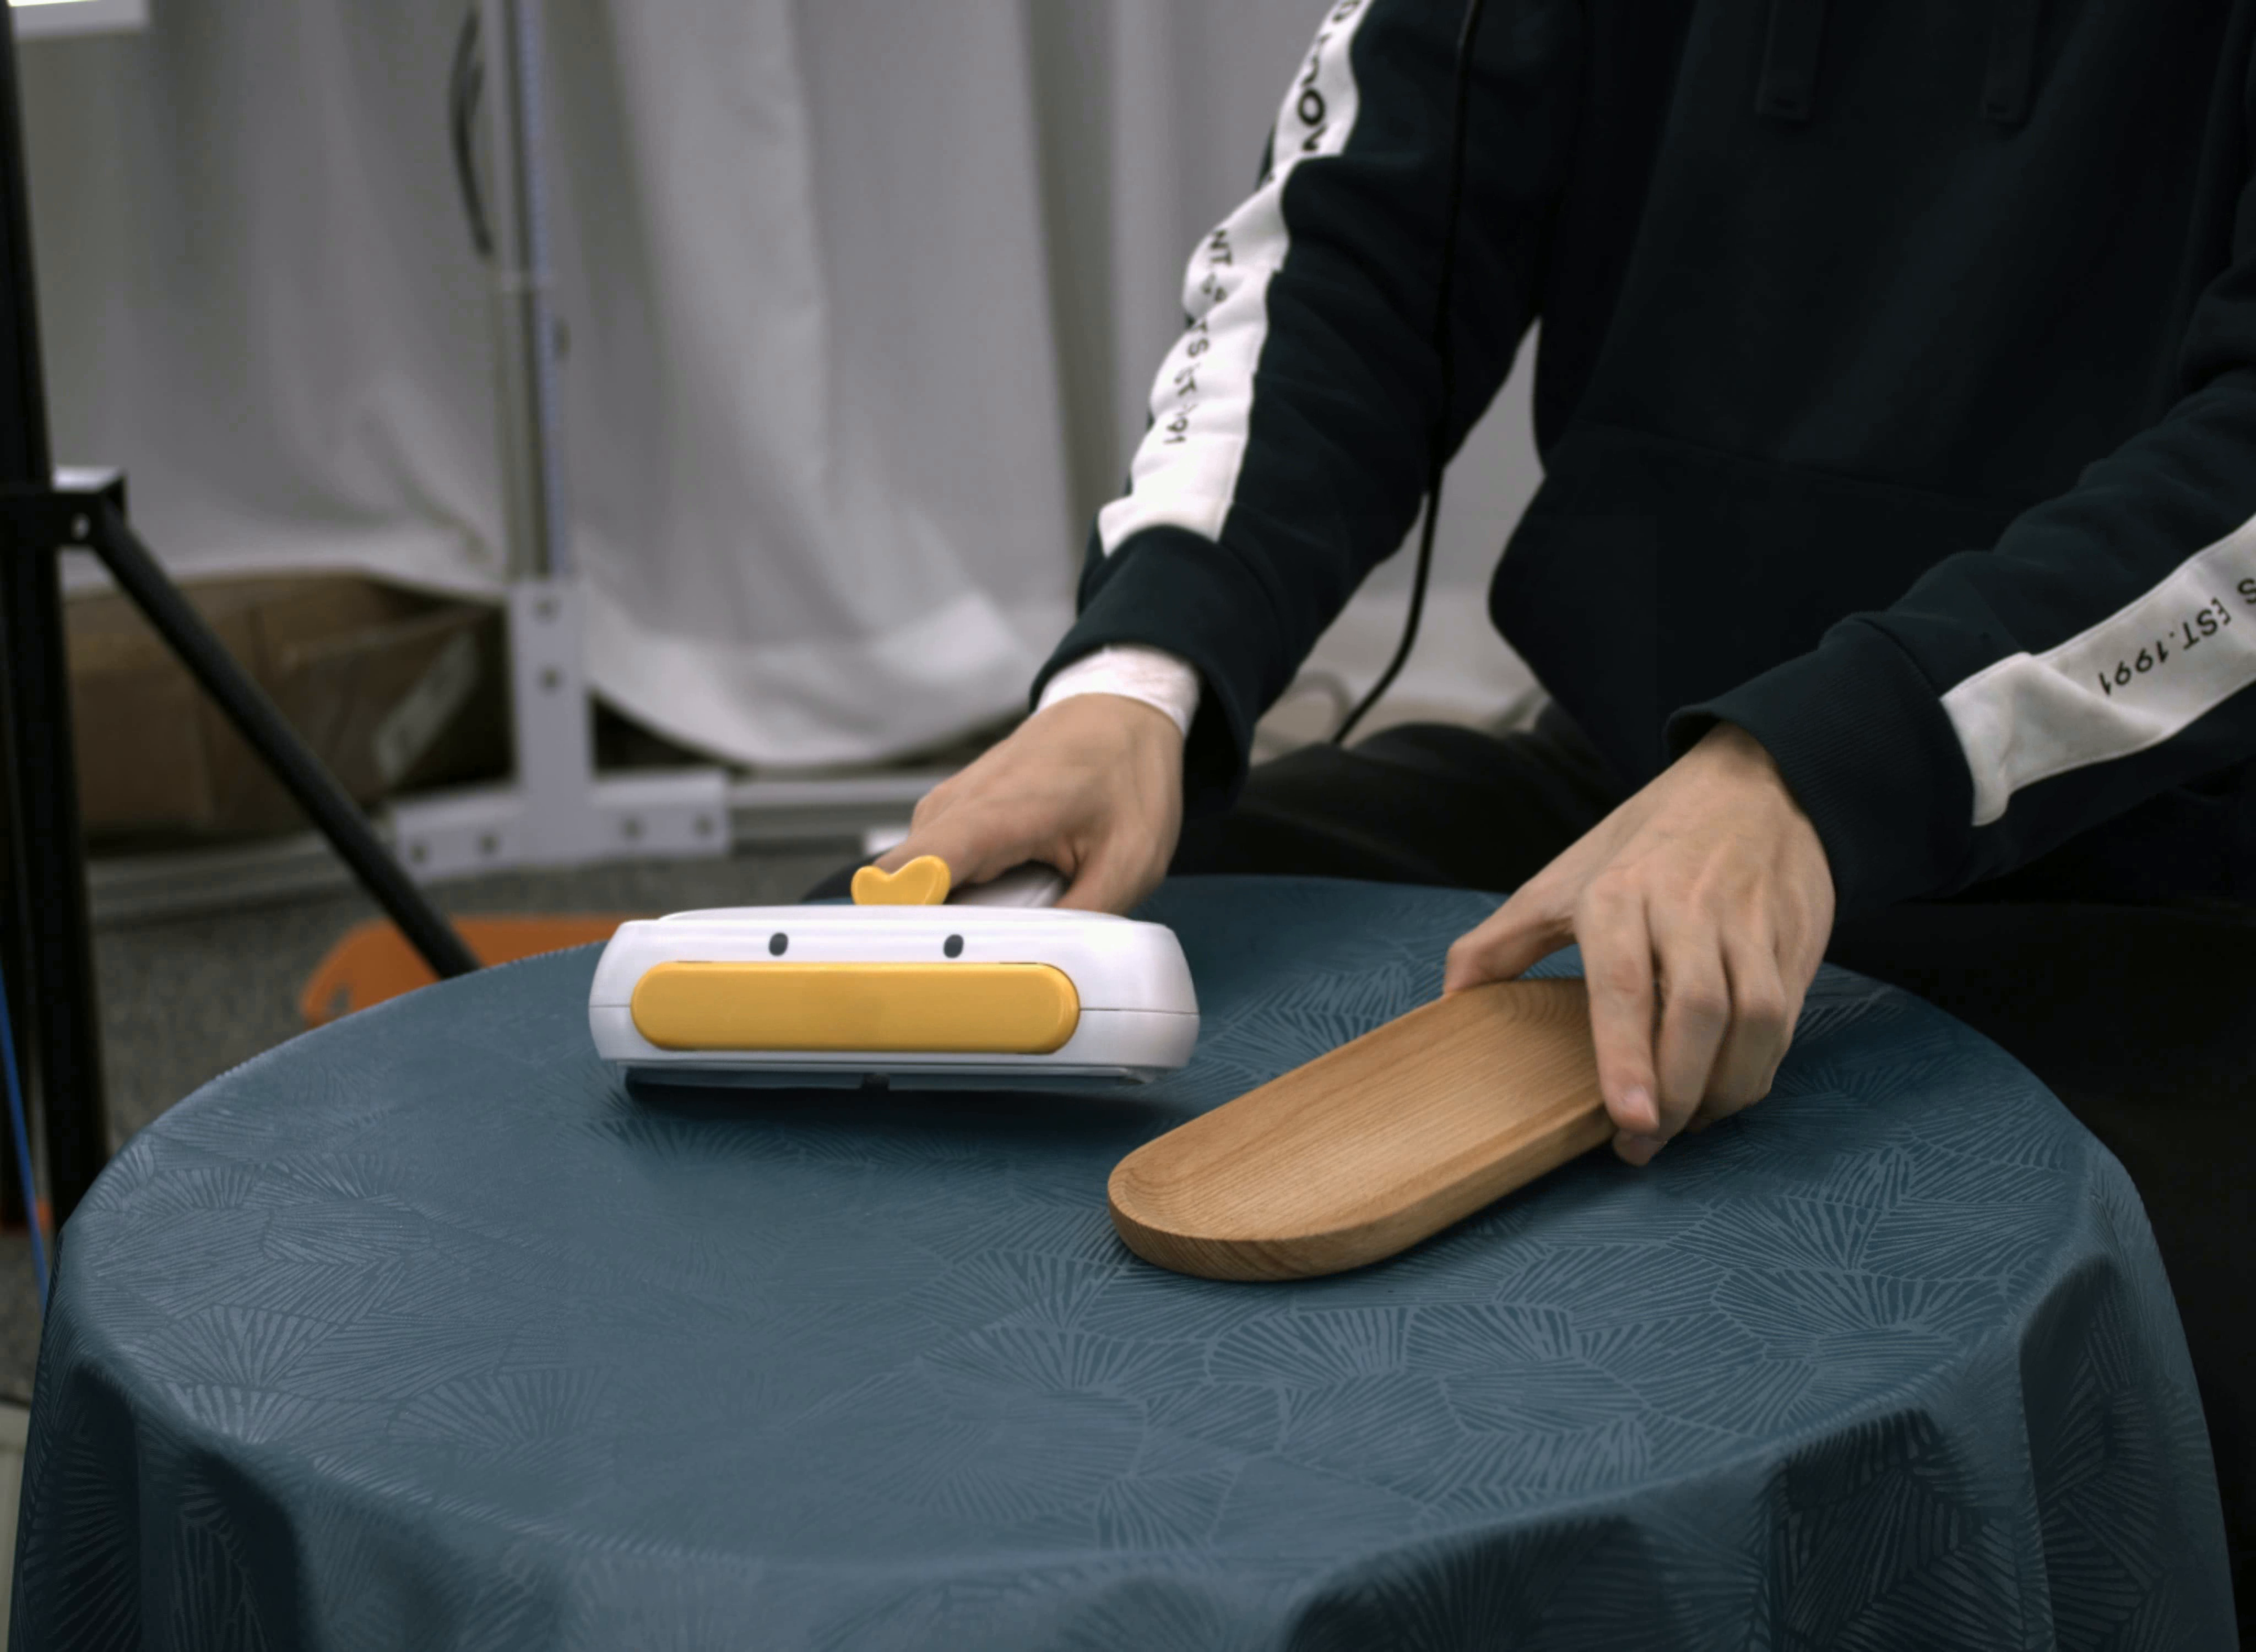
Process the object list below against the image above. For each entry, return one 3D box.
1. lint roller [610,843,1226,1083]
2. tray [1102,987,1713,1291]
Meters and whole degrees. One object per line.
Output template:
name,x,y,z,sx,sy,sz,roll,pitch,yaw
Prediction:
lint roller,-0.051,0.041,1.692,0.194,0.074,0.190,-5,2,17
tray,0.085,0.090,1.560,0.104,0.020,0.226,10,24,40
